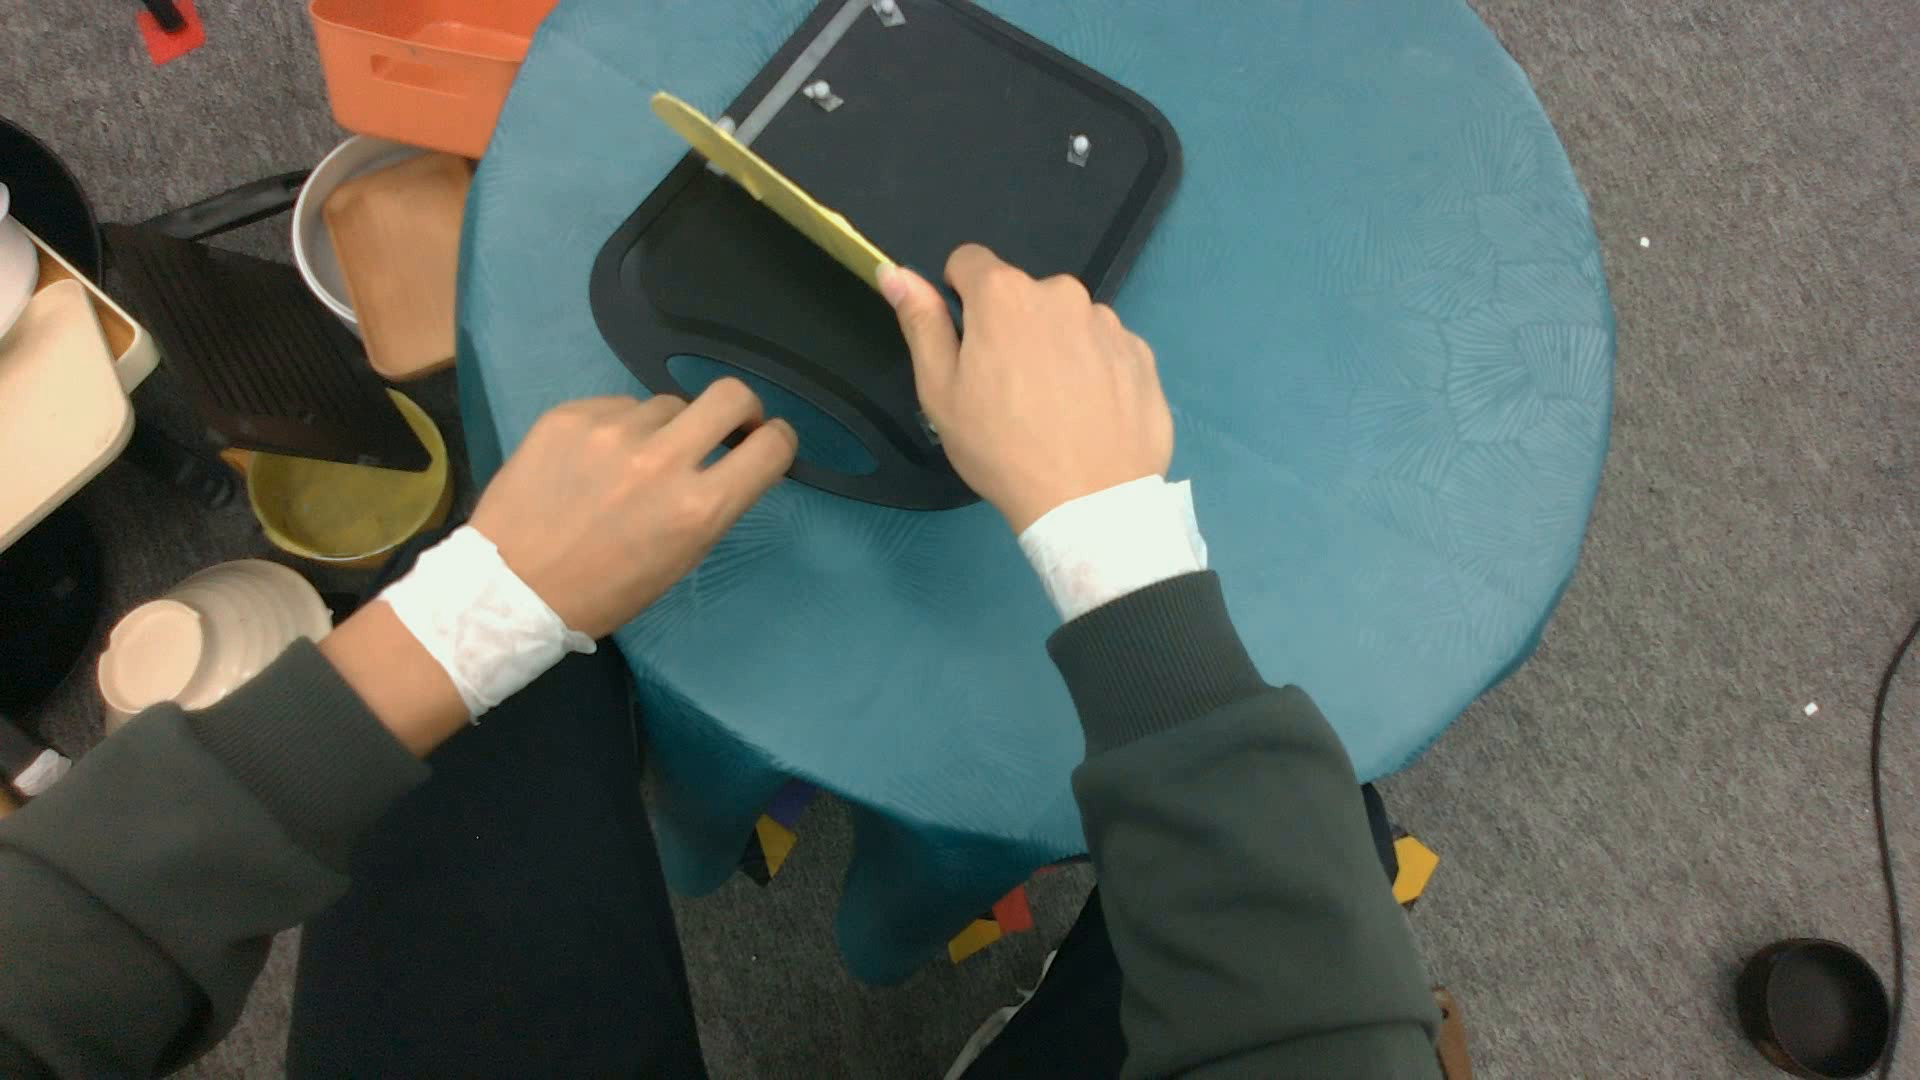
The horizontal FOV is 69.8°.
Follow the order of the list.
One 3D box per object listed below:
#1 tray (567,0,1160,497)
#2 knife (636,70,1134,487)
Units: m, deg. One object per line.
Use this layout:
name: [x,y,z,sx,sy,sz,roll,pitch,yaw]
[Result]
tray: [-0.035,-0.161,0.661,0.211,0.010,0.327,28,56,0]
knife: [-0.039,-0.118,0.596,0.289,0.081,0.027,41,90,12]
